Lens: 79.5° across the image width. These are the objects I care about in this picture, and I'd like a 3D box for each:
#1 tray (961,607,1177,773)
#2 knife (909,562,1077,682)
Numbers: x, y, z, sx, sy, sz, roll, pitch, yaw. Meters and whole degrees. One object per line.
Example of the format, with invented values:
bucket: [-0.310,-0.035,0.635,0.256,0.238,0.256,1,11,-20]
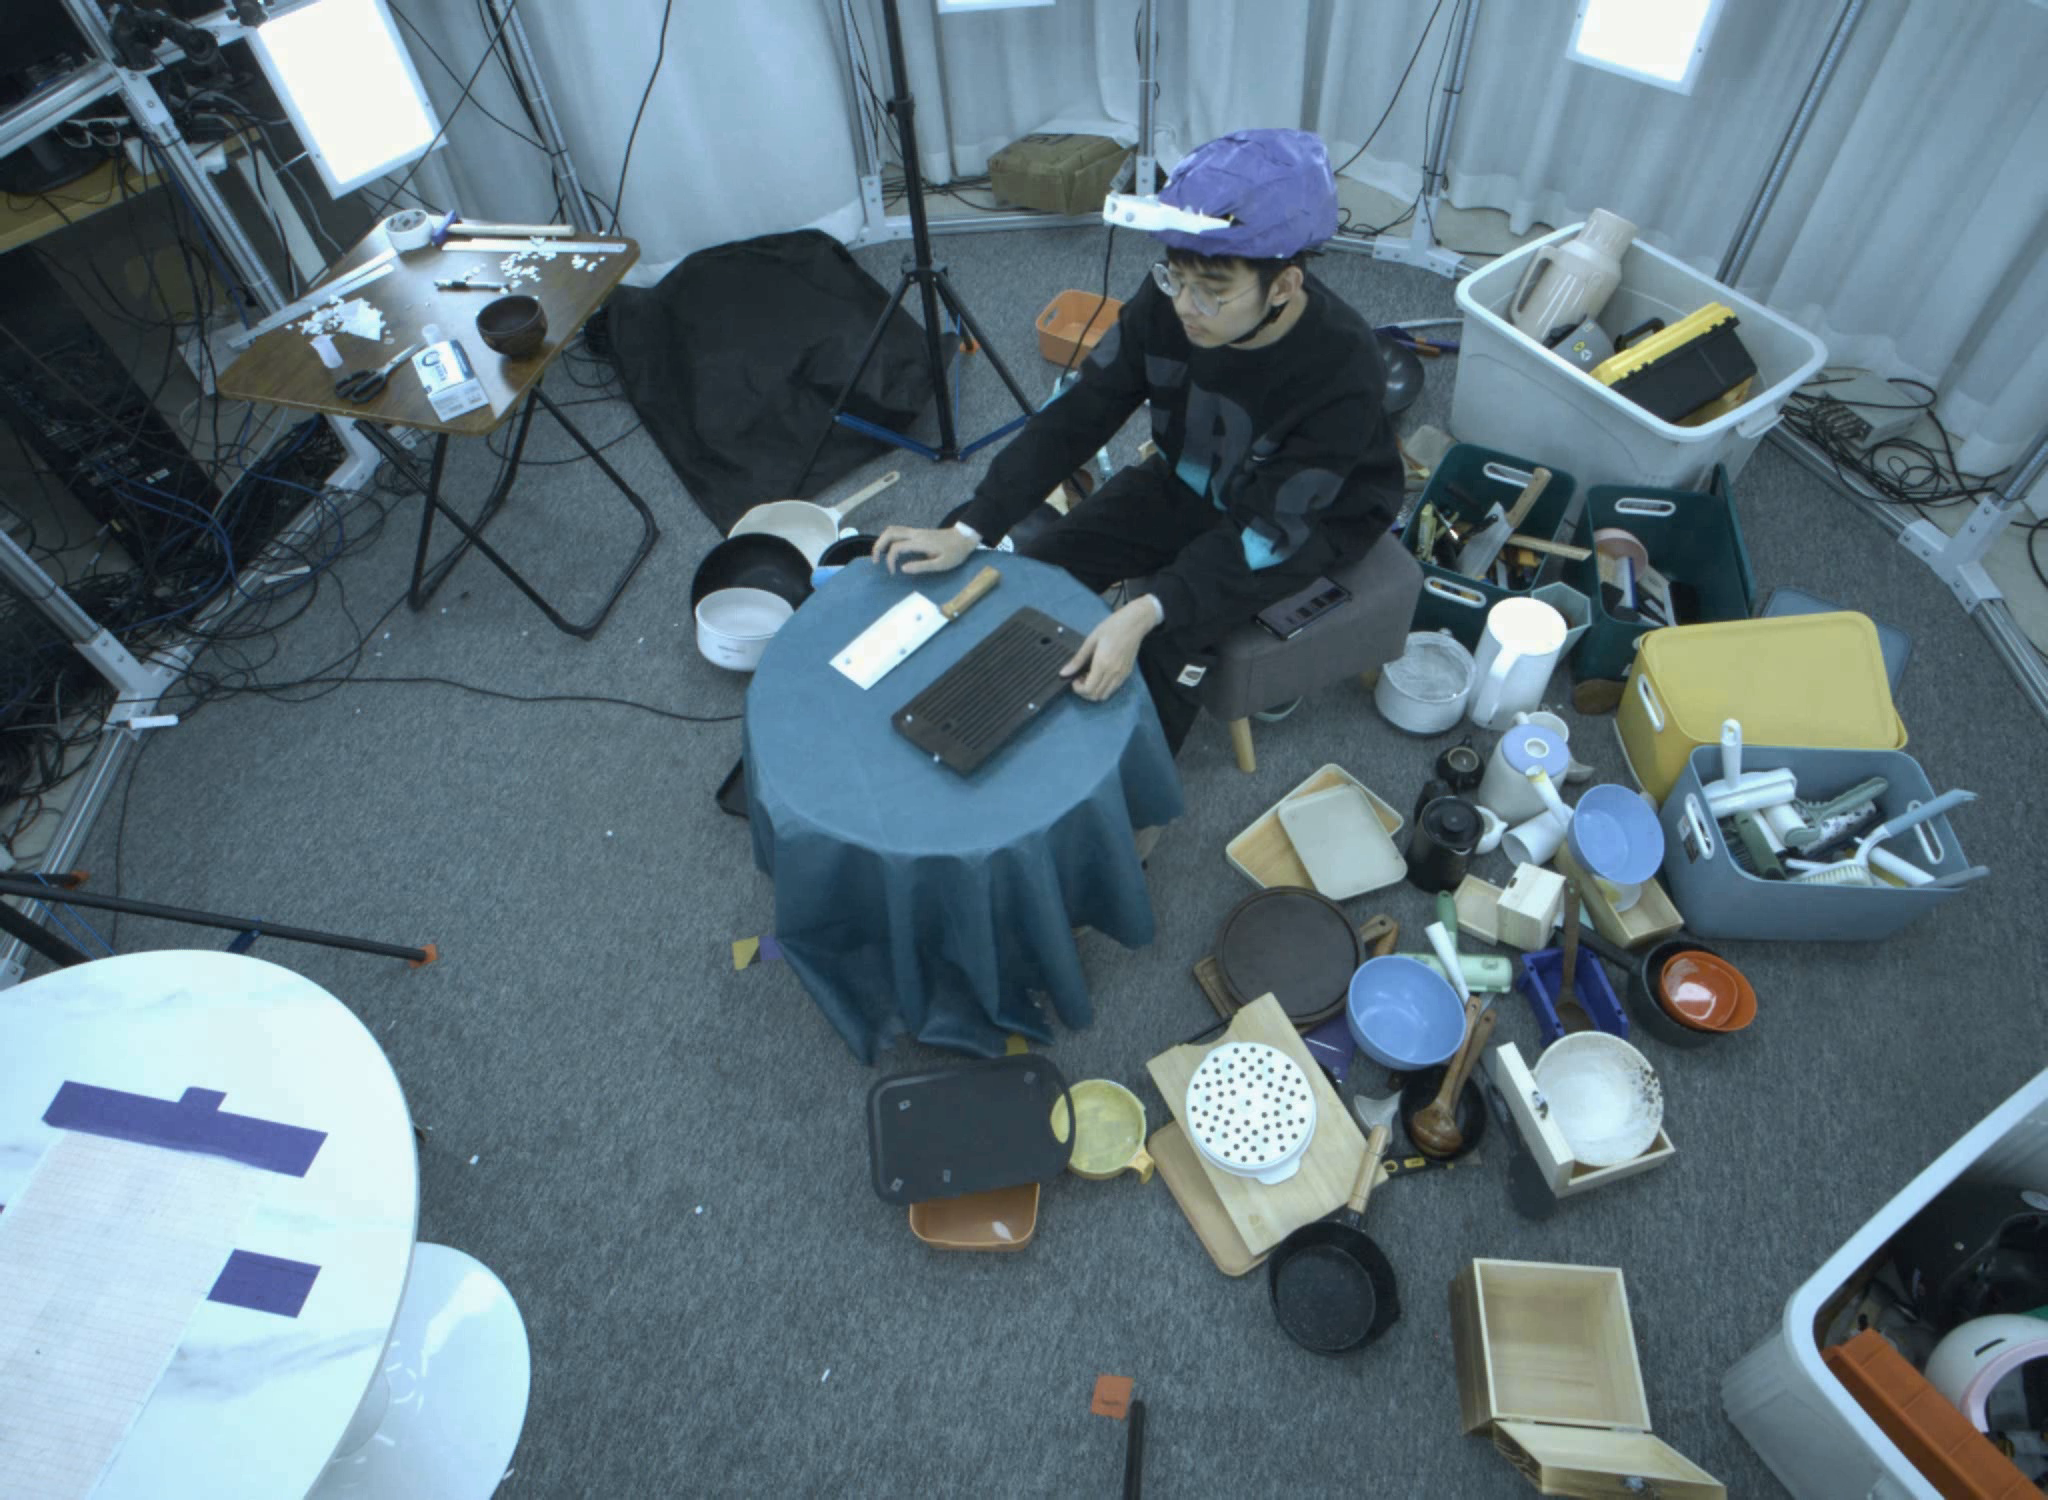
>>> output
tray: [0.068,-0.093,1.829,0.308,0.019,0.166,-38,56,-22]
knife: [-0.052,-0.216,1.932,0.308,0.021,0.091,-39,61,-20]
